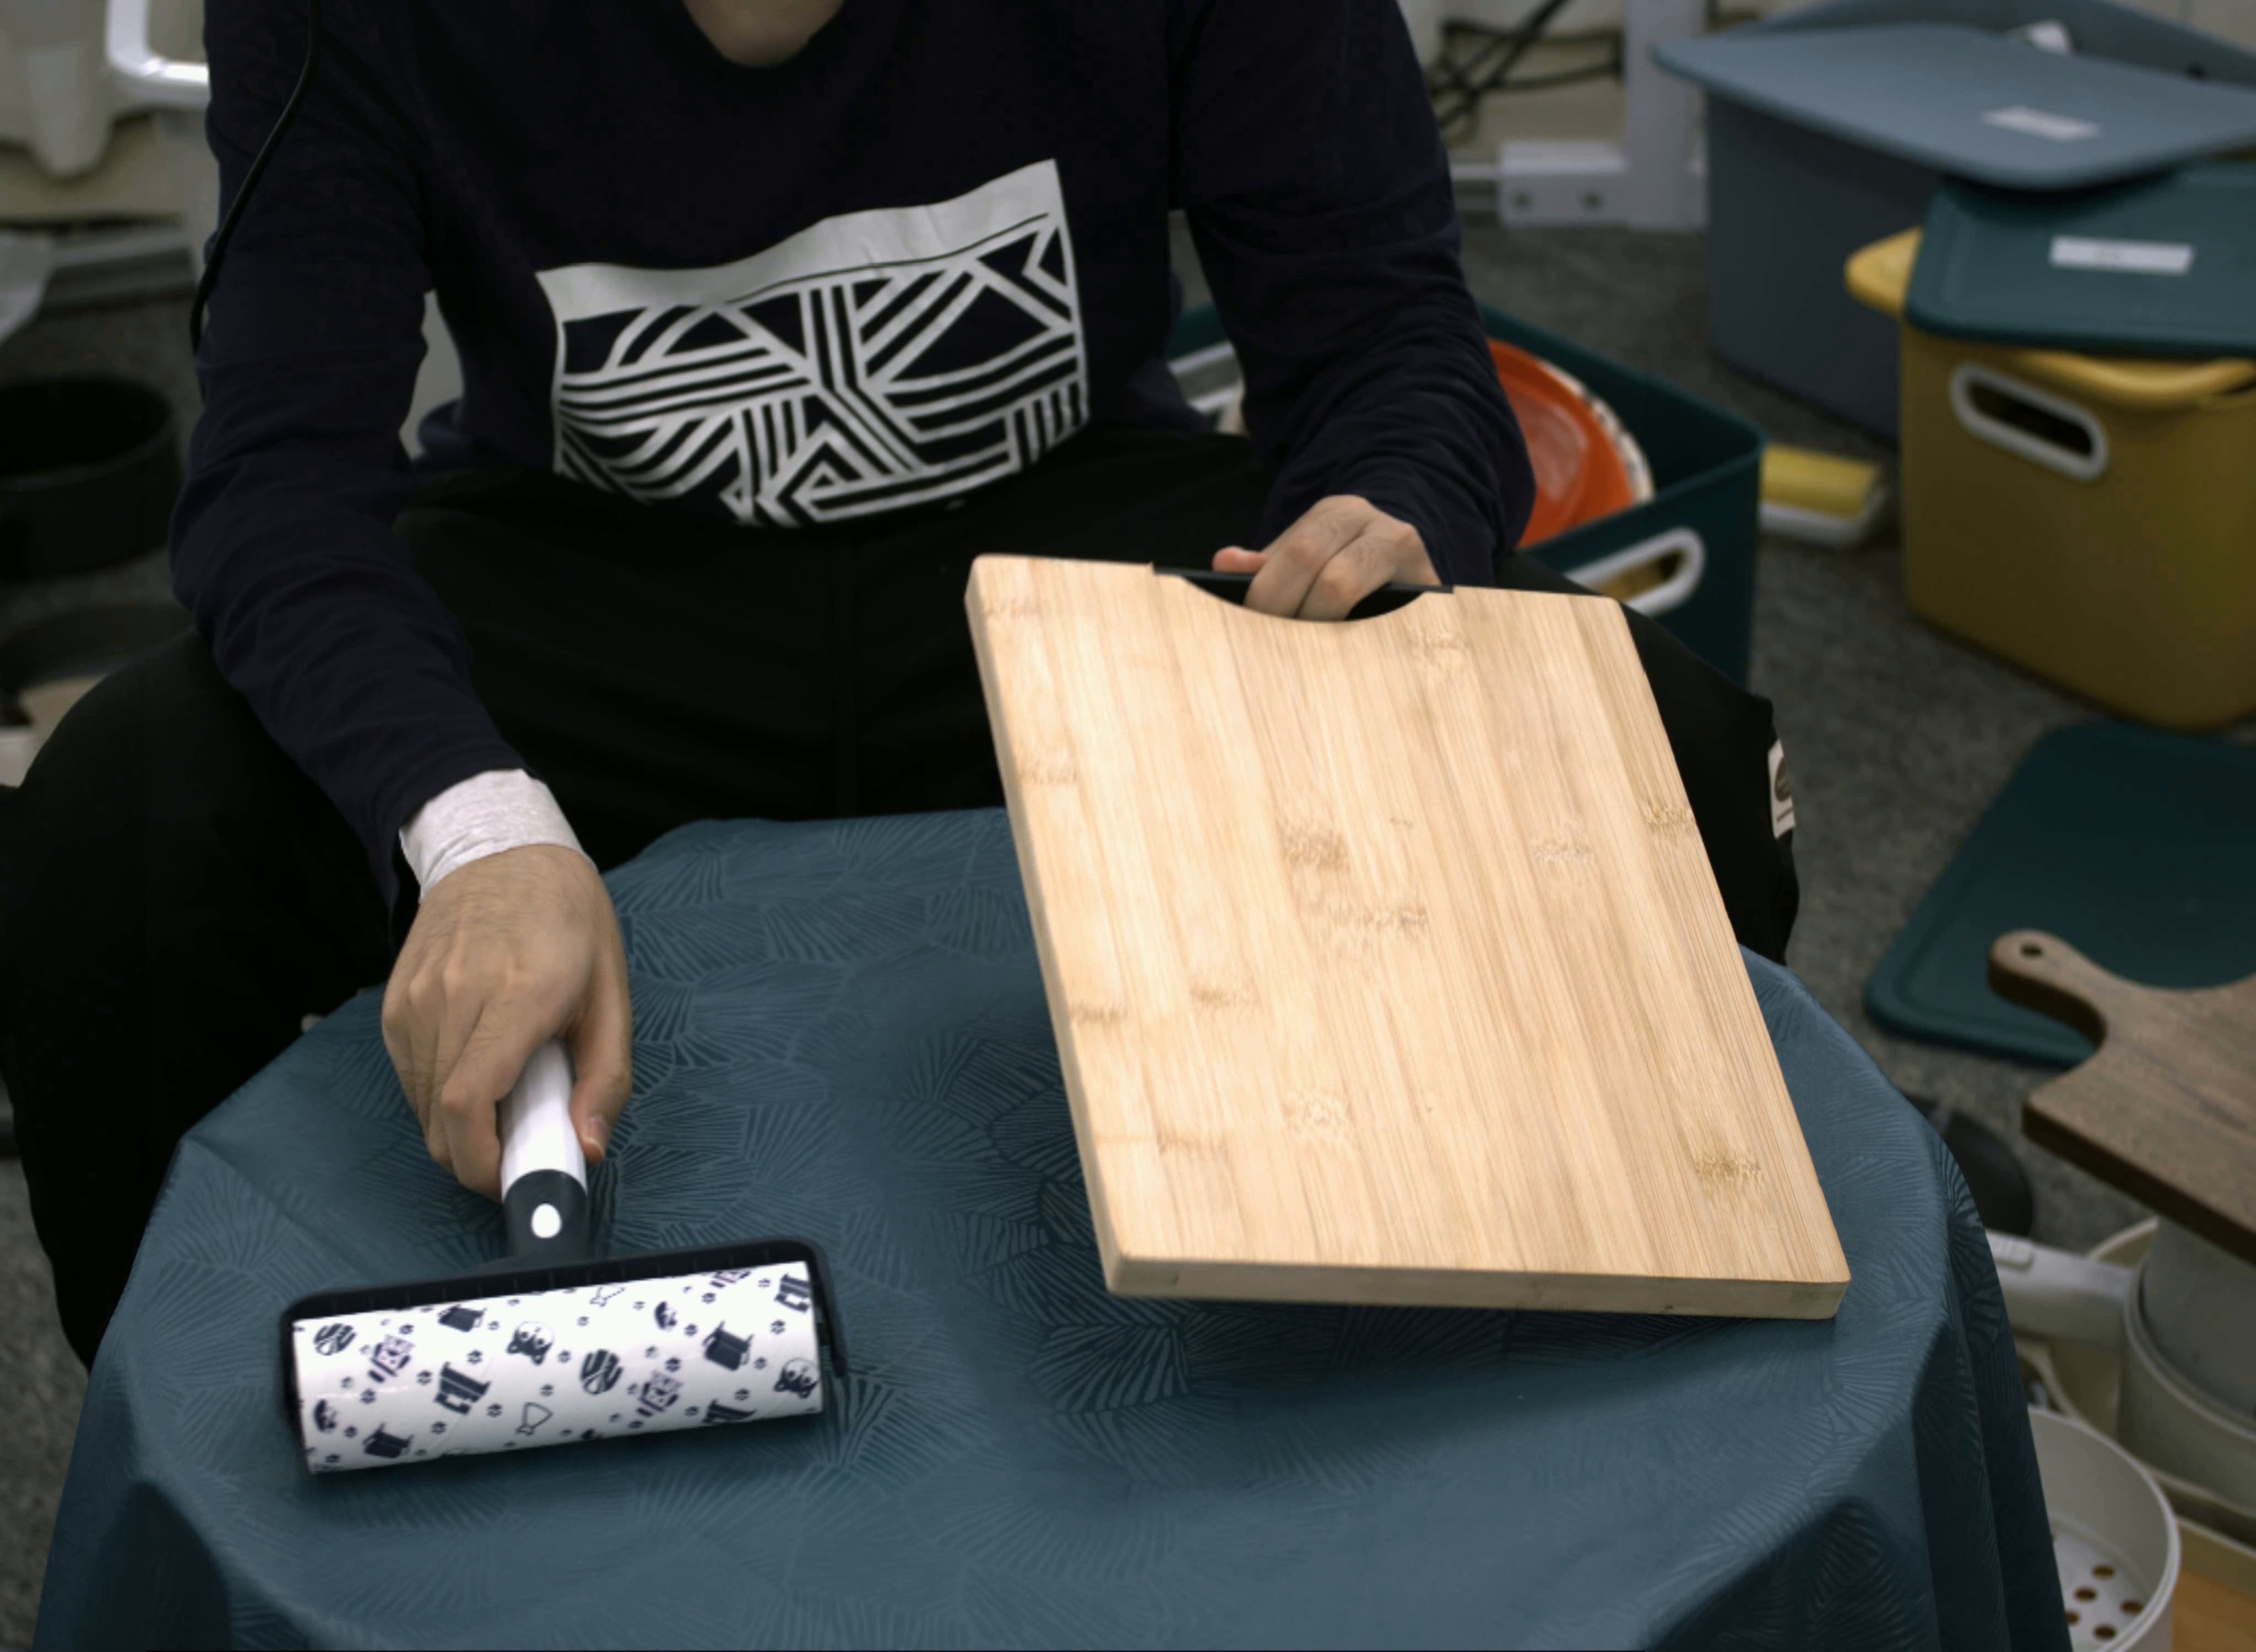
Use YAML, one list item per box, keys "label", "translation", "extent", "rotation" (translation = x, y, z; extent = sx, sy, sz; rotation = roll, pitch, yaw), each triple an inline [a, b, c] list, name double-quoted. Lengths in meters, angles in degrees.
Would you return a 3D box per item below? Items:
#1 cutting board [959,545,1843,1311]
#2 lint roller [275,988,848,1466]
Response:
- label: "cutting board"
  translation: [0.082, 0.029, 1.872]
  extent: [0.250, 0.023, 0.355]
  rotation: [3, 40, -15]
- label: "lint roller"
  translation: [-0.192, 0.116, 1.826]
  extent: [0.176, 0.050, 0.250]
  rotation: [-8, 30, -7]
